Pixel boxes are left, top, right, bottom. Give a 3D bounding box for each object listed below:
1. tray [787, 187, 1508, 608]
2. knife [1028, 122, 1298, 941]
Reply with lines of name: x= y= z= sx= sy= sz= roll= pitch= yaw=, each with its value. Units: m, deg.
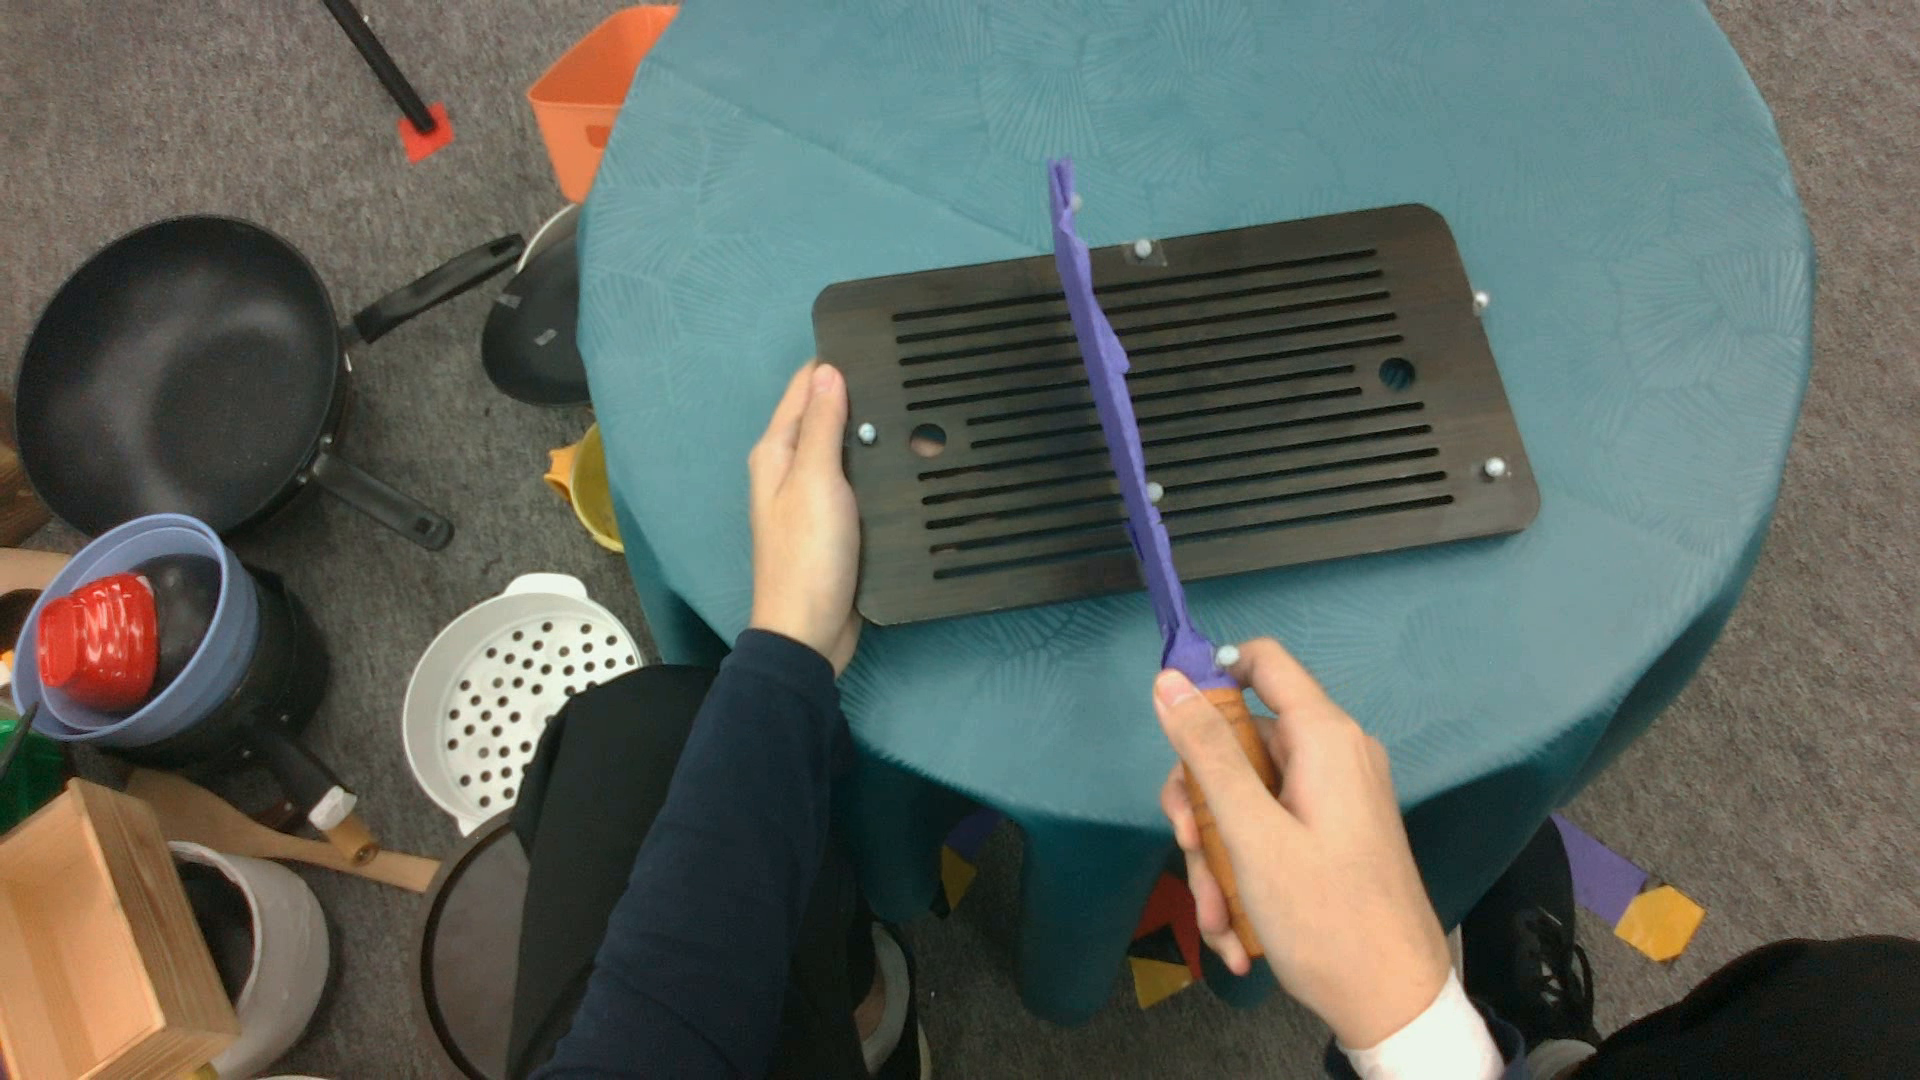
tray: x=0.082 y=-0.069 z=0.629 sx=0.306 sy=0.018 sz=0.170 roll=-9 pitch=69 yaw=-6
knife: x=0.071 y=-0.006 z=0.540 sx=0.032 sy=0.103 sz=0.316 roll=-14 pitch=74 yaw=3
